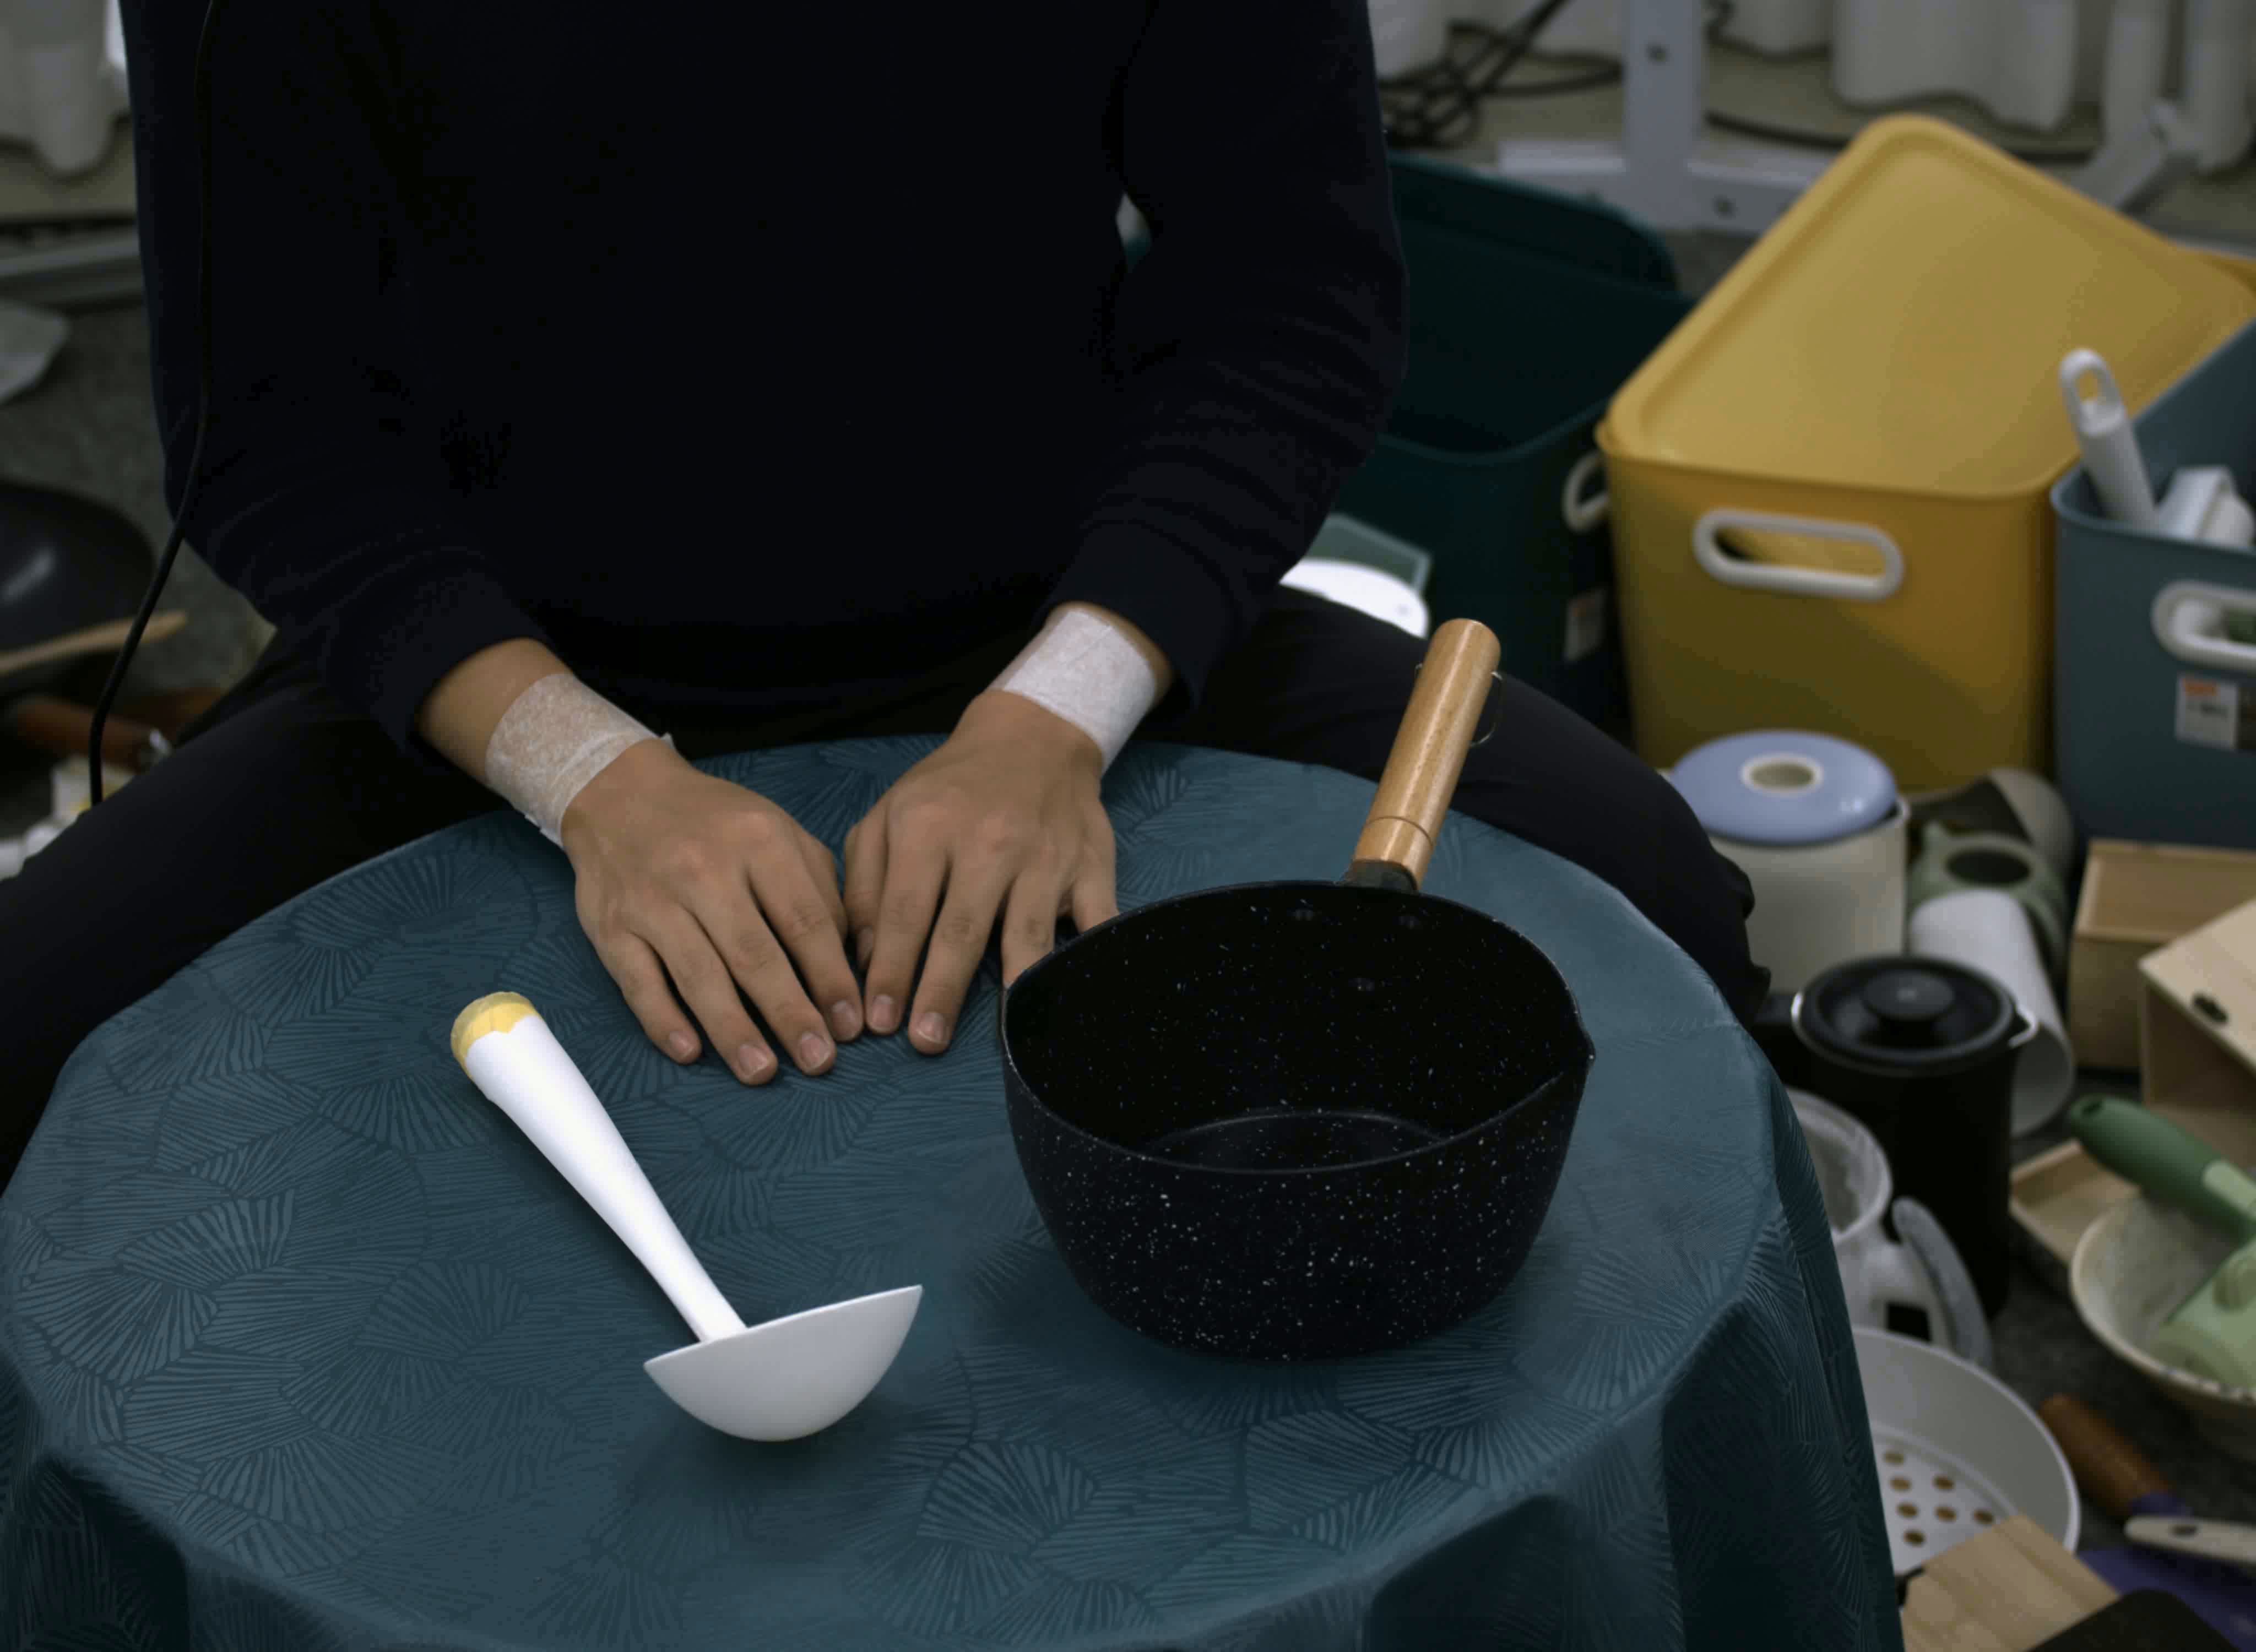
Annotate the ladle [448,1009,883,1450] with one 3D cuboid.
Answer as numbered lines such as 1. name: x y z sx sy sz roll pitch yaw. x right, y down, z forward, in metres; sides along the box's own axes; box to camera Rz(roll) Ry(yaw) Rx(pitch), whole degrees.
1. ladle: -0.163 0.119 1.816 0.090 0.069 0.295 -20 31 -17

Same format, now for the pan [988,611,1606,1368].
1. pan: 0.074 0.051 1.875 0.206 0.107 0.349 4 30 15
